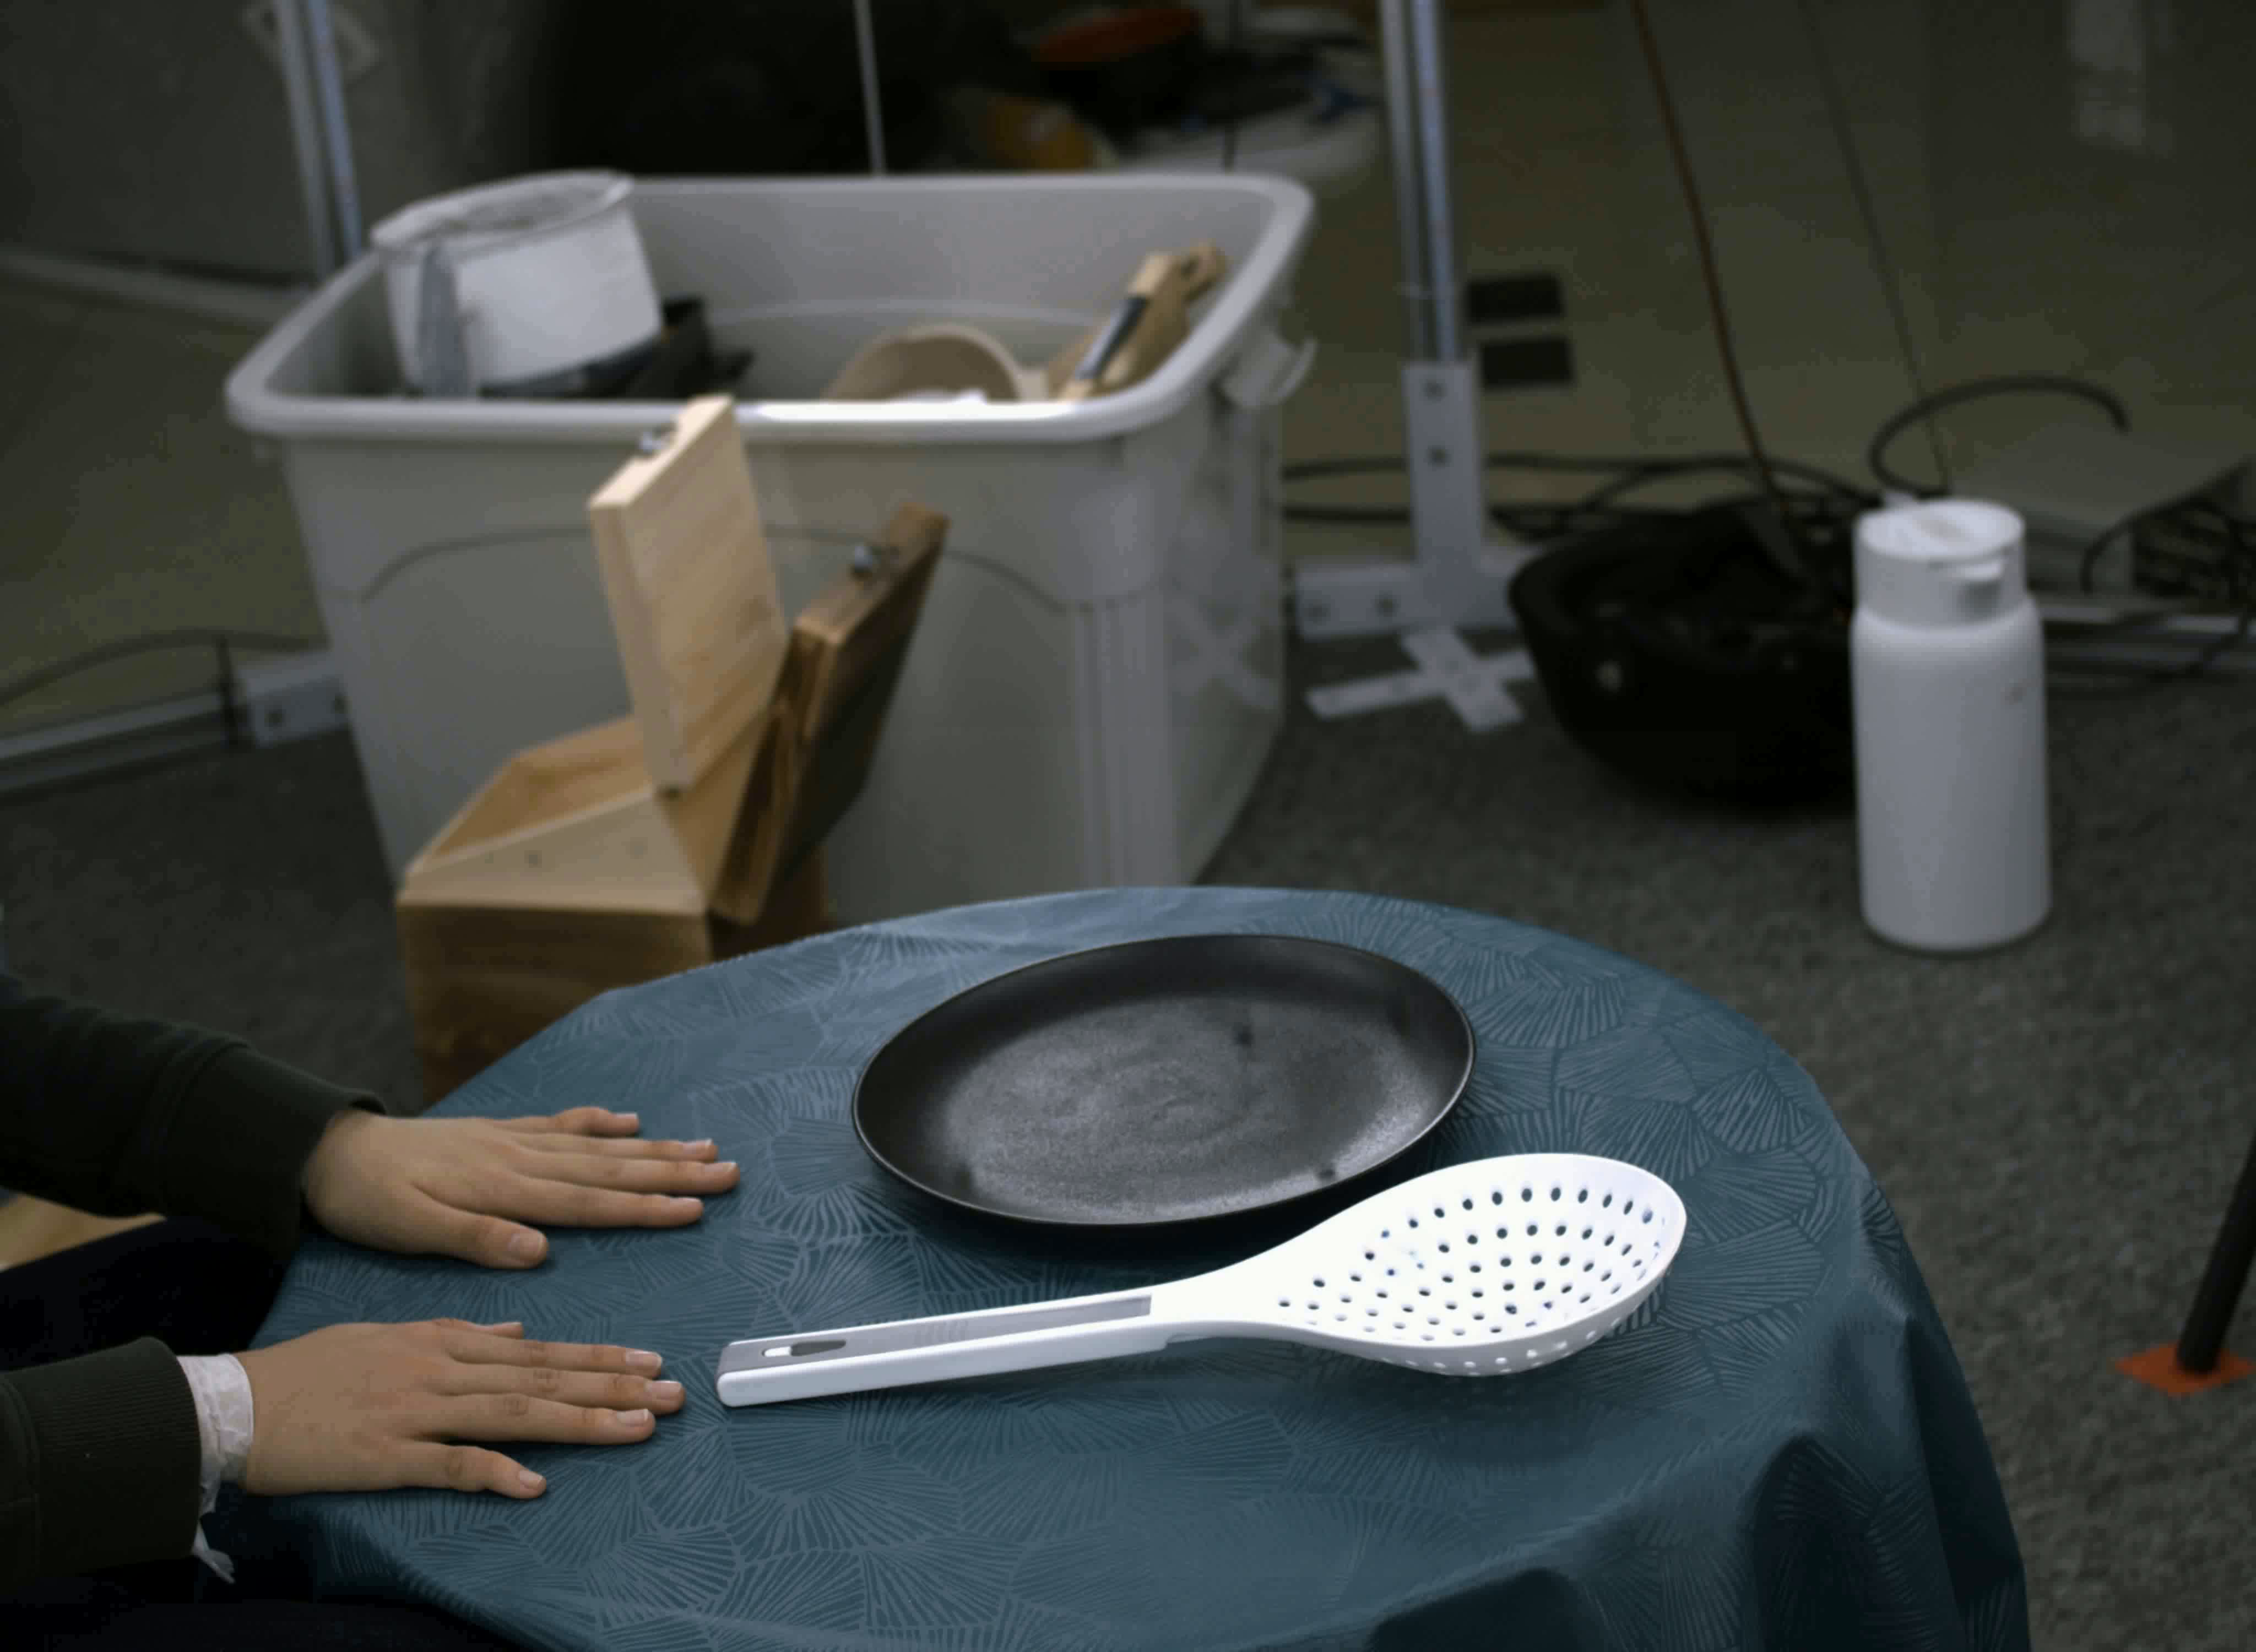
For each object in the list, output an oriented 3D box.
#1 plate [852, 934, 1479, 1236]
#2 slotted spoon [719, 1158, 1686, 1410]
[{"bbox_3d":[0.015,0.105,2.195,0.244,0.024,0.241,-6,25,3],"label":"plate"},{"bbox_3d":[0.025,0.173,2.020,0.349,0.046,0.134,-5,23,6],"label":"slotted spoon"}]
